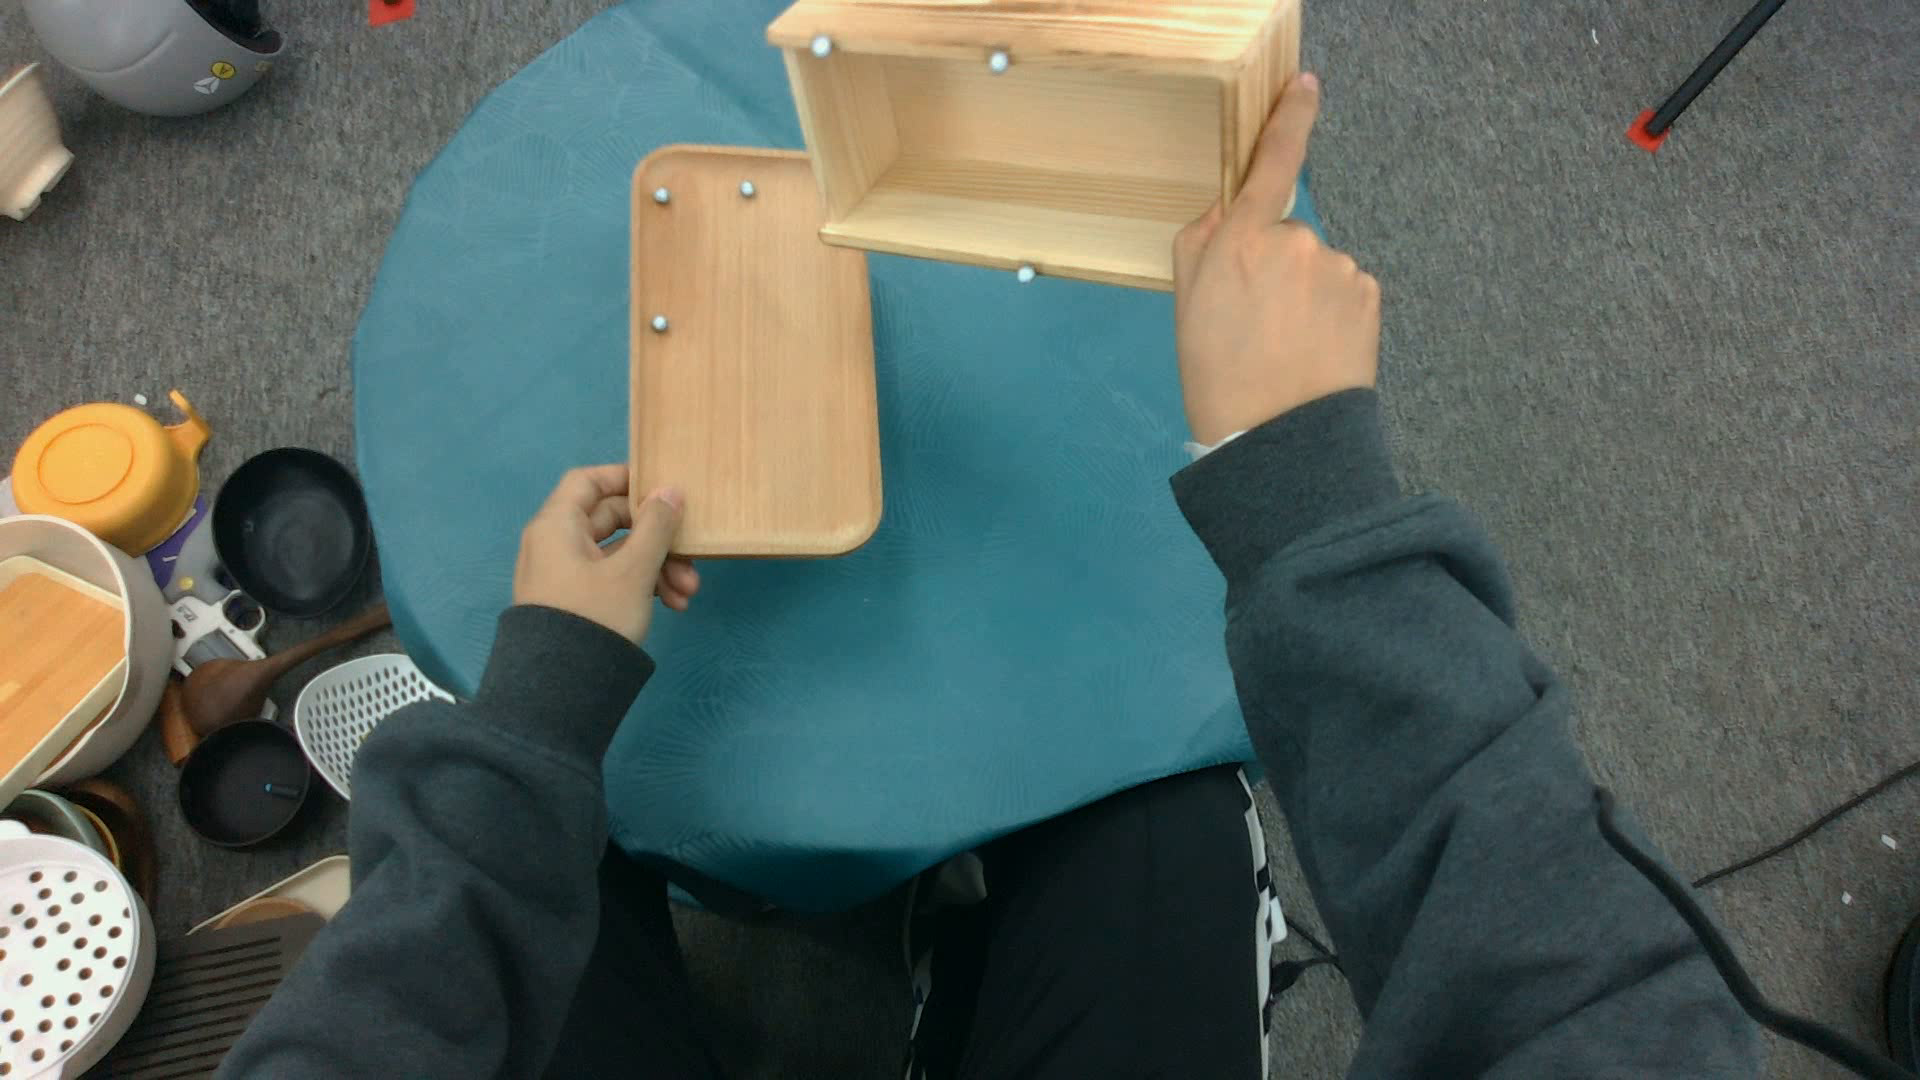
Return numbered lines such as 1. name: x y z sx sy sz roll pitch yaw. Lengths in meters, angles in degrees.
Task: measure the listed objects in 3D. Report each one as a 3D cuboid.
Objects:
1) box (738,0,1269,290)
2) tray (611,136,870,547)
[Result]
1. box: 0.022 -0.189 0.613 0.211 0.107 0.080 12 51 25
2. tray: -0.119 -0.110 0.733 0.130 0.023 0.251 -1 66 -9
